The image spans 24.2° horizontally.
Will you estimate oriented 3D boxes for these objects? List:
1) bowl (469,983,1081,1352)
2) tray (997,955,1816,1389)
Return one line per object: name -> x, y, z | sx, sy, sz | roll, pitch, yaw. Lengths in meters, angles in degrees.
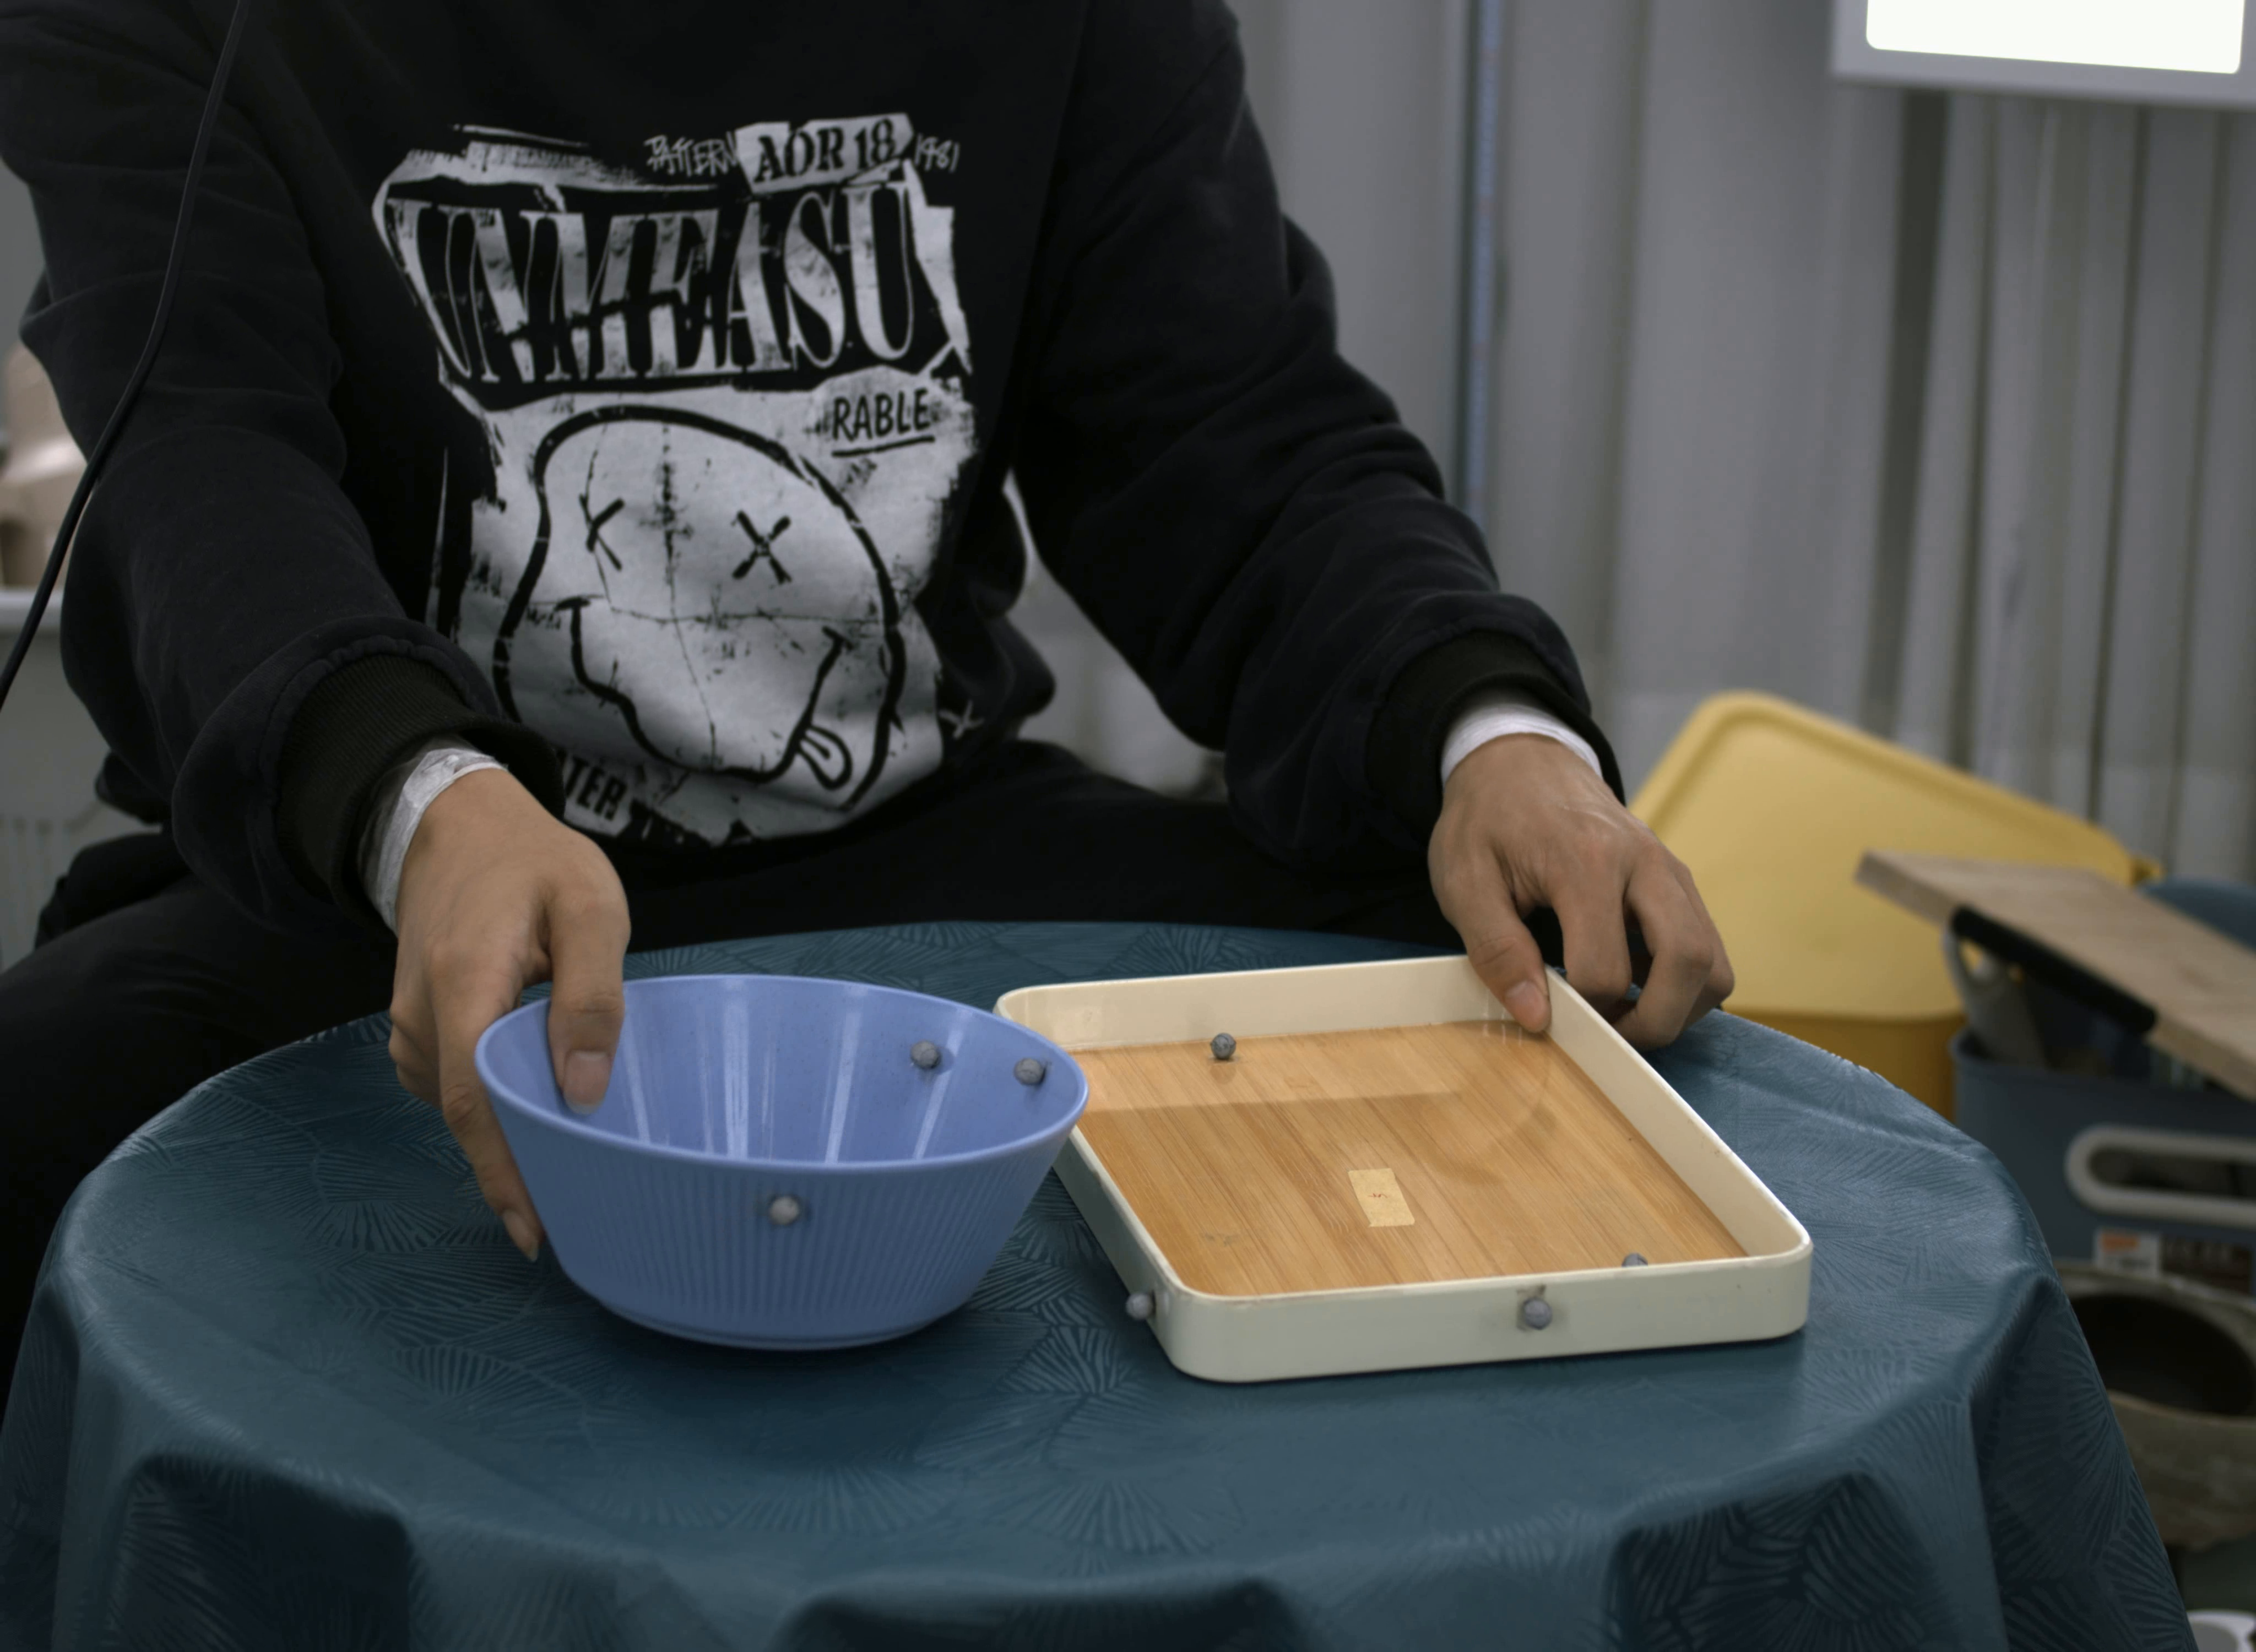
bowl -> -0.103, 0.101, 1.514 | 0.175, 0.071, 0.175 | 6, 15, -1
tray -> 0.077, 0.101, 1.620 | 0.192, 0.027, 0.297 | -3, 17, -12
